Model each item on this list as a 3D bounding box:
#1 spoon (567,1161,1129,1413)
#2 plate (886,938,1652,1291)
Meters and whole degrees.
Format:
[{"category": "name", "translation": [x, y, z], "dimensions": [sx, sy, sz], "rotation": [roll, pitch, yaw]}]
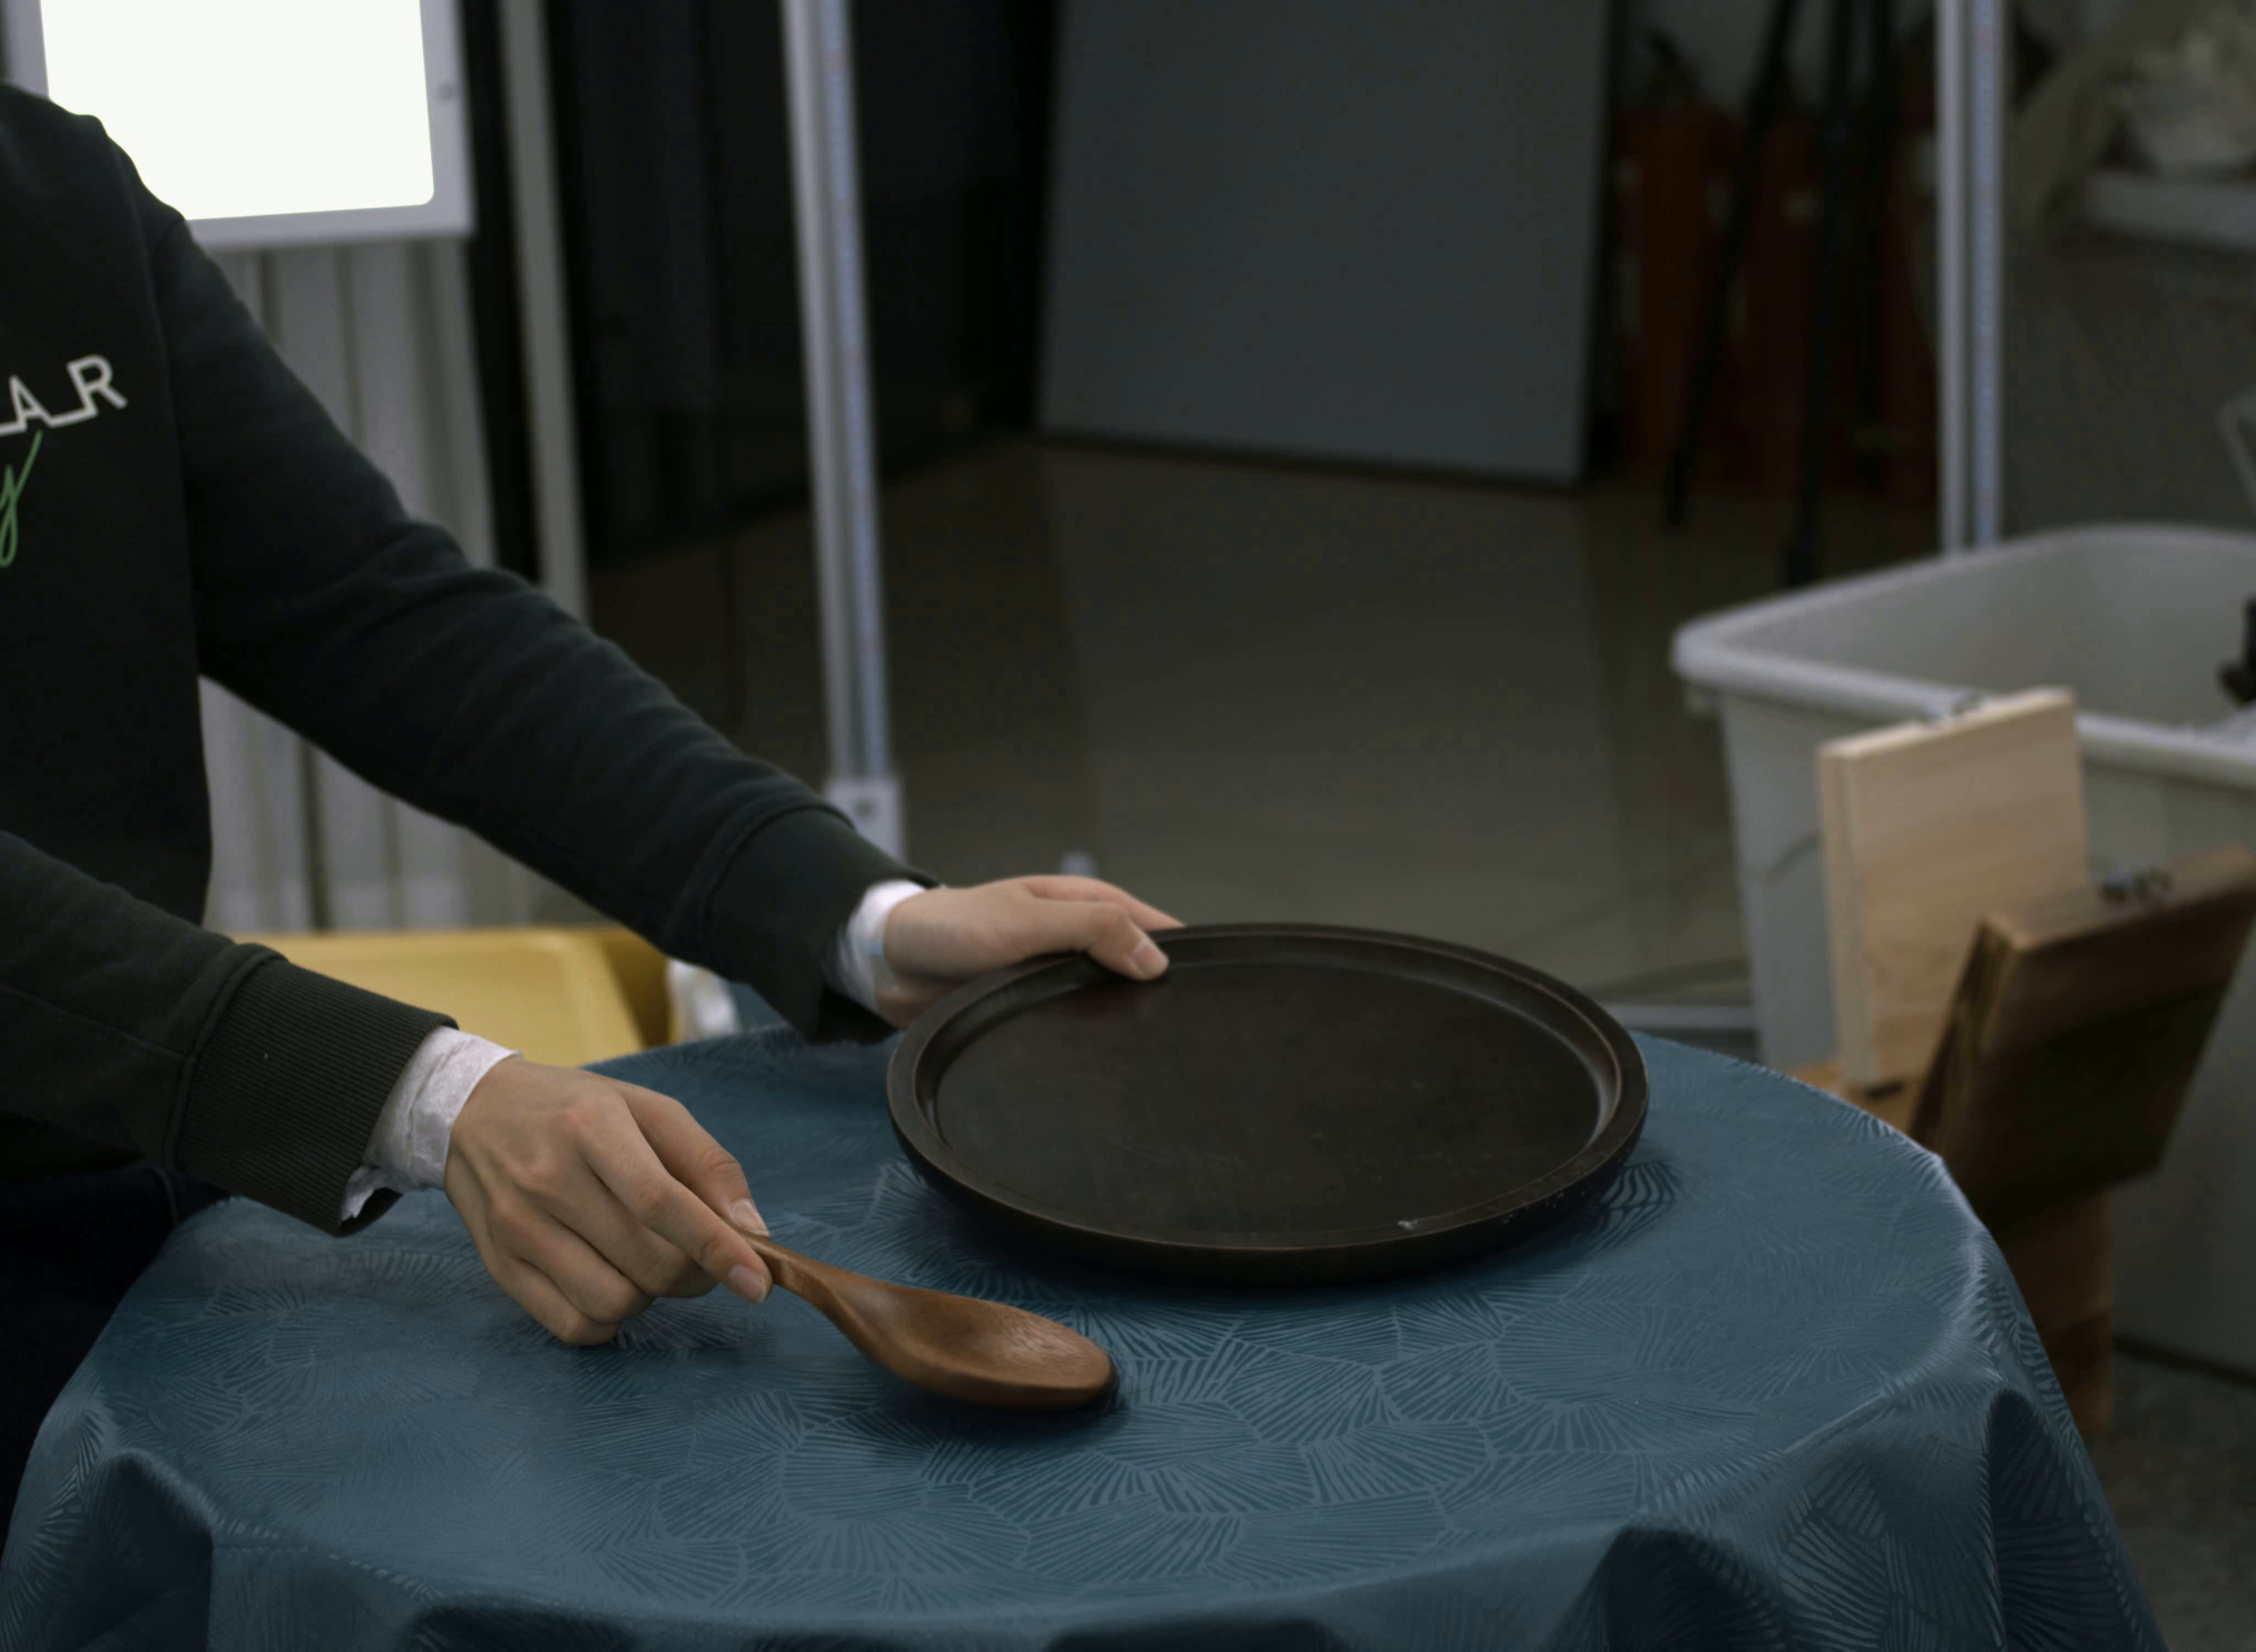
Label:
[{"category": "spoon", "translation": [-0.089, 0.140, 1.624], "dimensions": [0.217, 0.017, 0.074], "rotation": [20, 14, 38]}, {"category": "plate", "translation": [0.046, 0.091, 1.764], "dimensions": [0.251, 0.029, 0.255], "rotation": [0, 22, -1]}]
